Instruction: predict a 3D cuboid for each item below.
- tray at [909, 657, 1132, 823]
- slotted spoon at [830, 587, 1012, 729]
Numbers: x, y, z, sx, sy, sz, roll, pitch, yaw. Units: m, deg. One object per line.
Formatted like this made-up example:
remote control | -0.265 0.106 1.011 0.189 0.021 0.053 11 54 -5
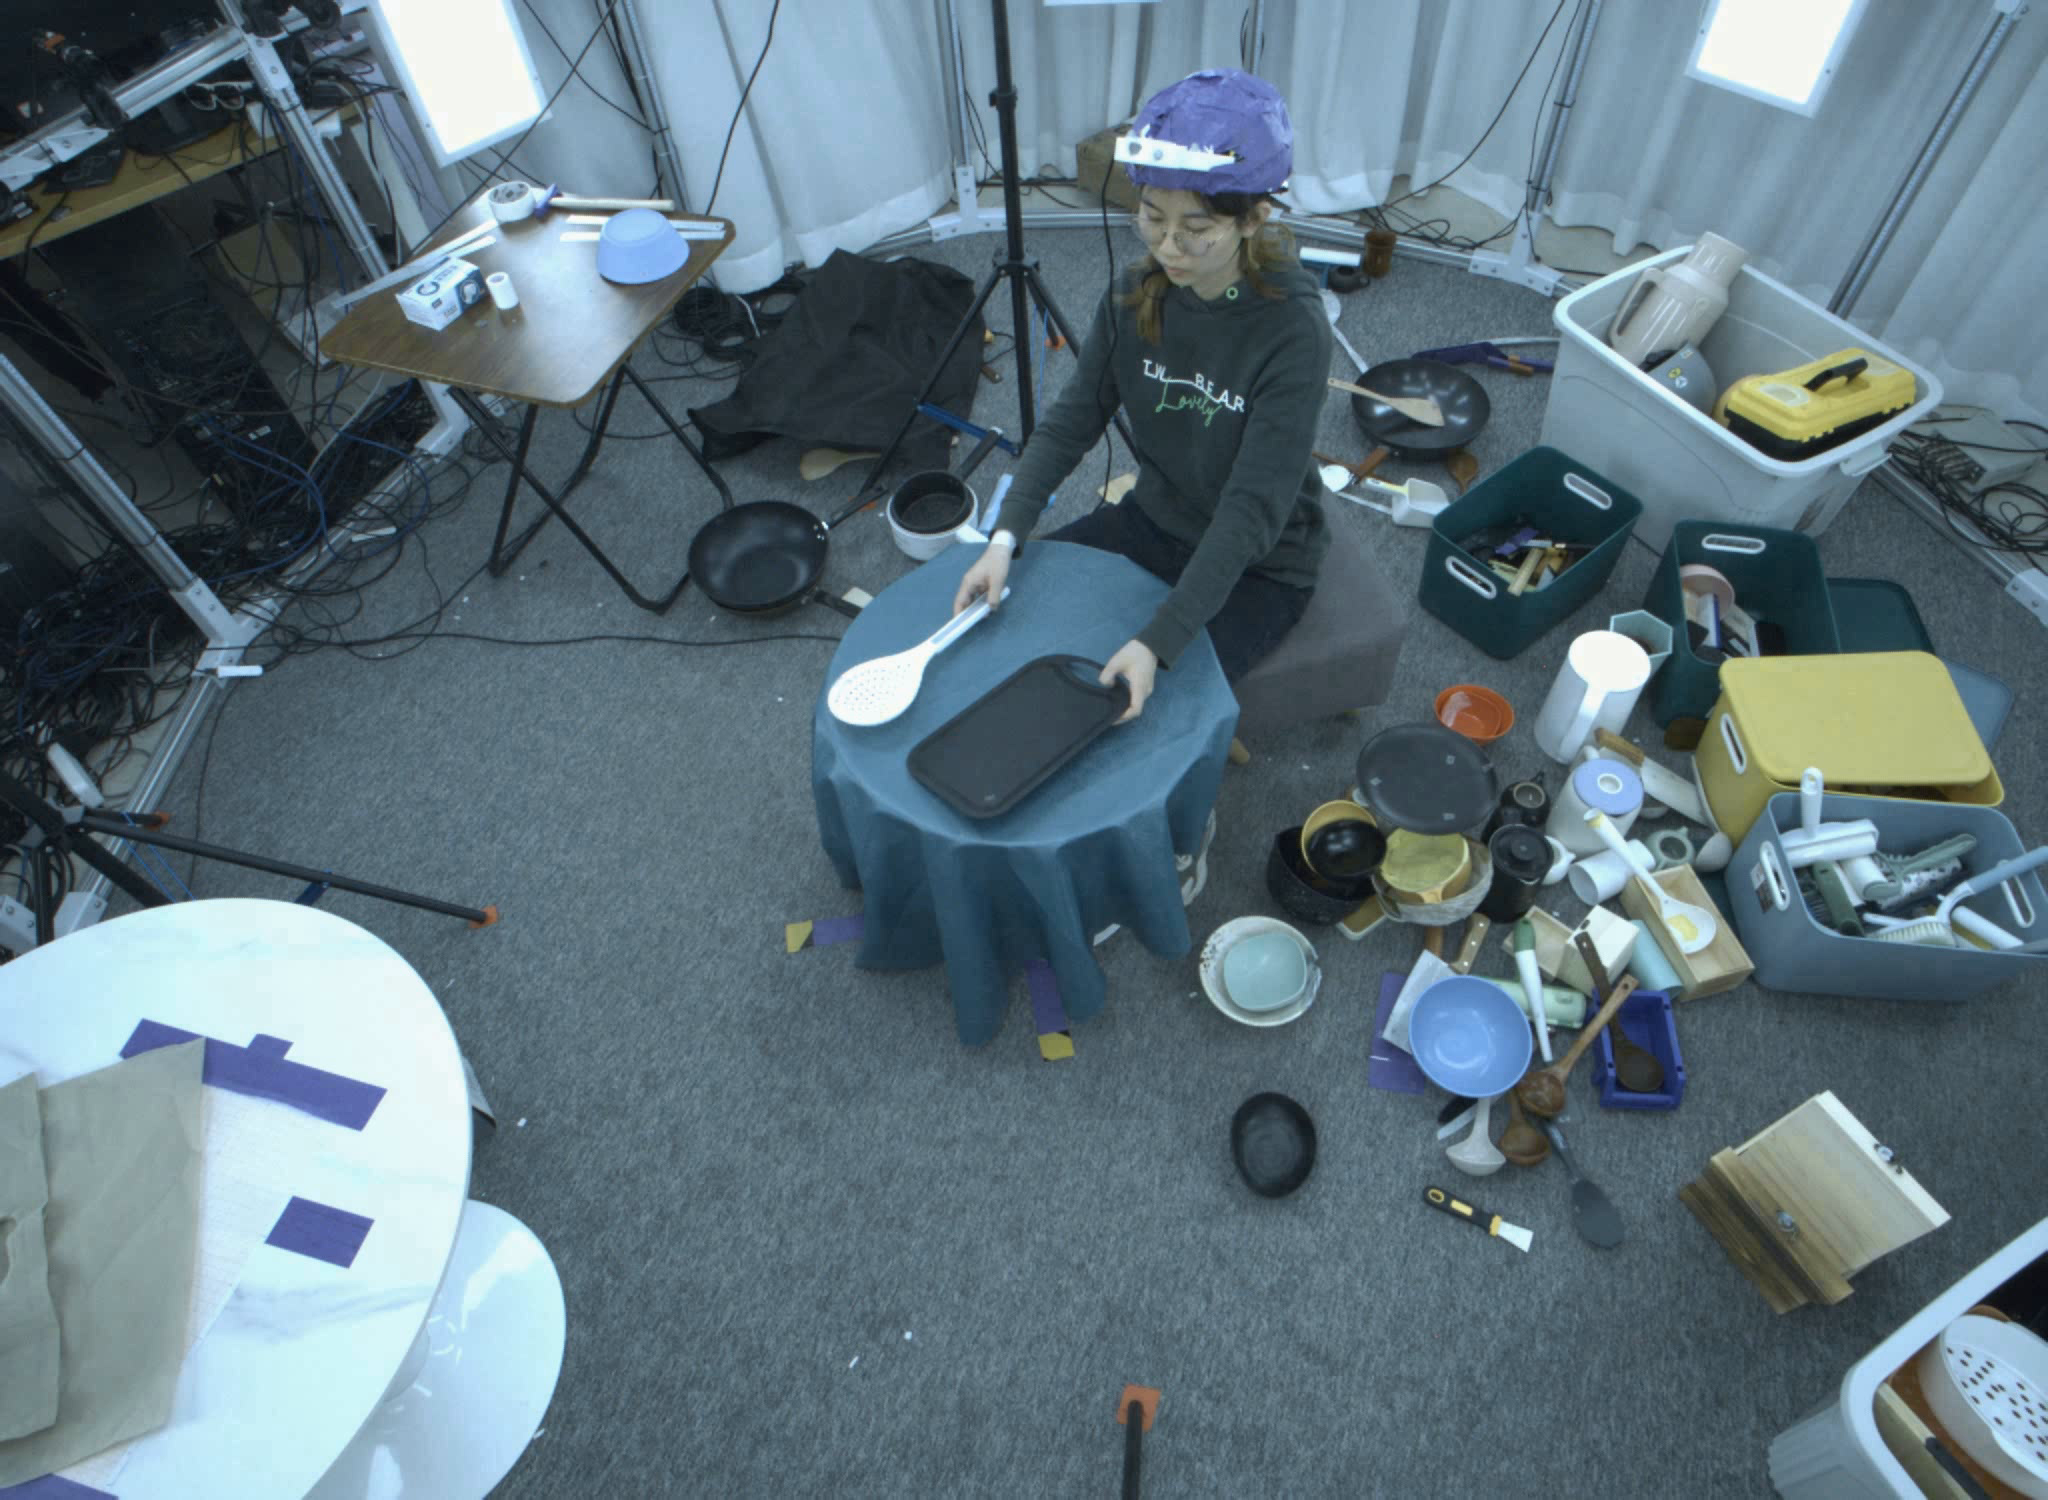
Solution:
tray | 0.000 -0.028 1.785 0.328 0.010 0.206 -38 49 -22
slotted spoon | -0.146 -0.144 1.864 0.133 0.046 0.351 31 65 32
